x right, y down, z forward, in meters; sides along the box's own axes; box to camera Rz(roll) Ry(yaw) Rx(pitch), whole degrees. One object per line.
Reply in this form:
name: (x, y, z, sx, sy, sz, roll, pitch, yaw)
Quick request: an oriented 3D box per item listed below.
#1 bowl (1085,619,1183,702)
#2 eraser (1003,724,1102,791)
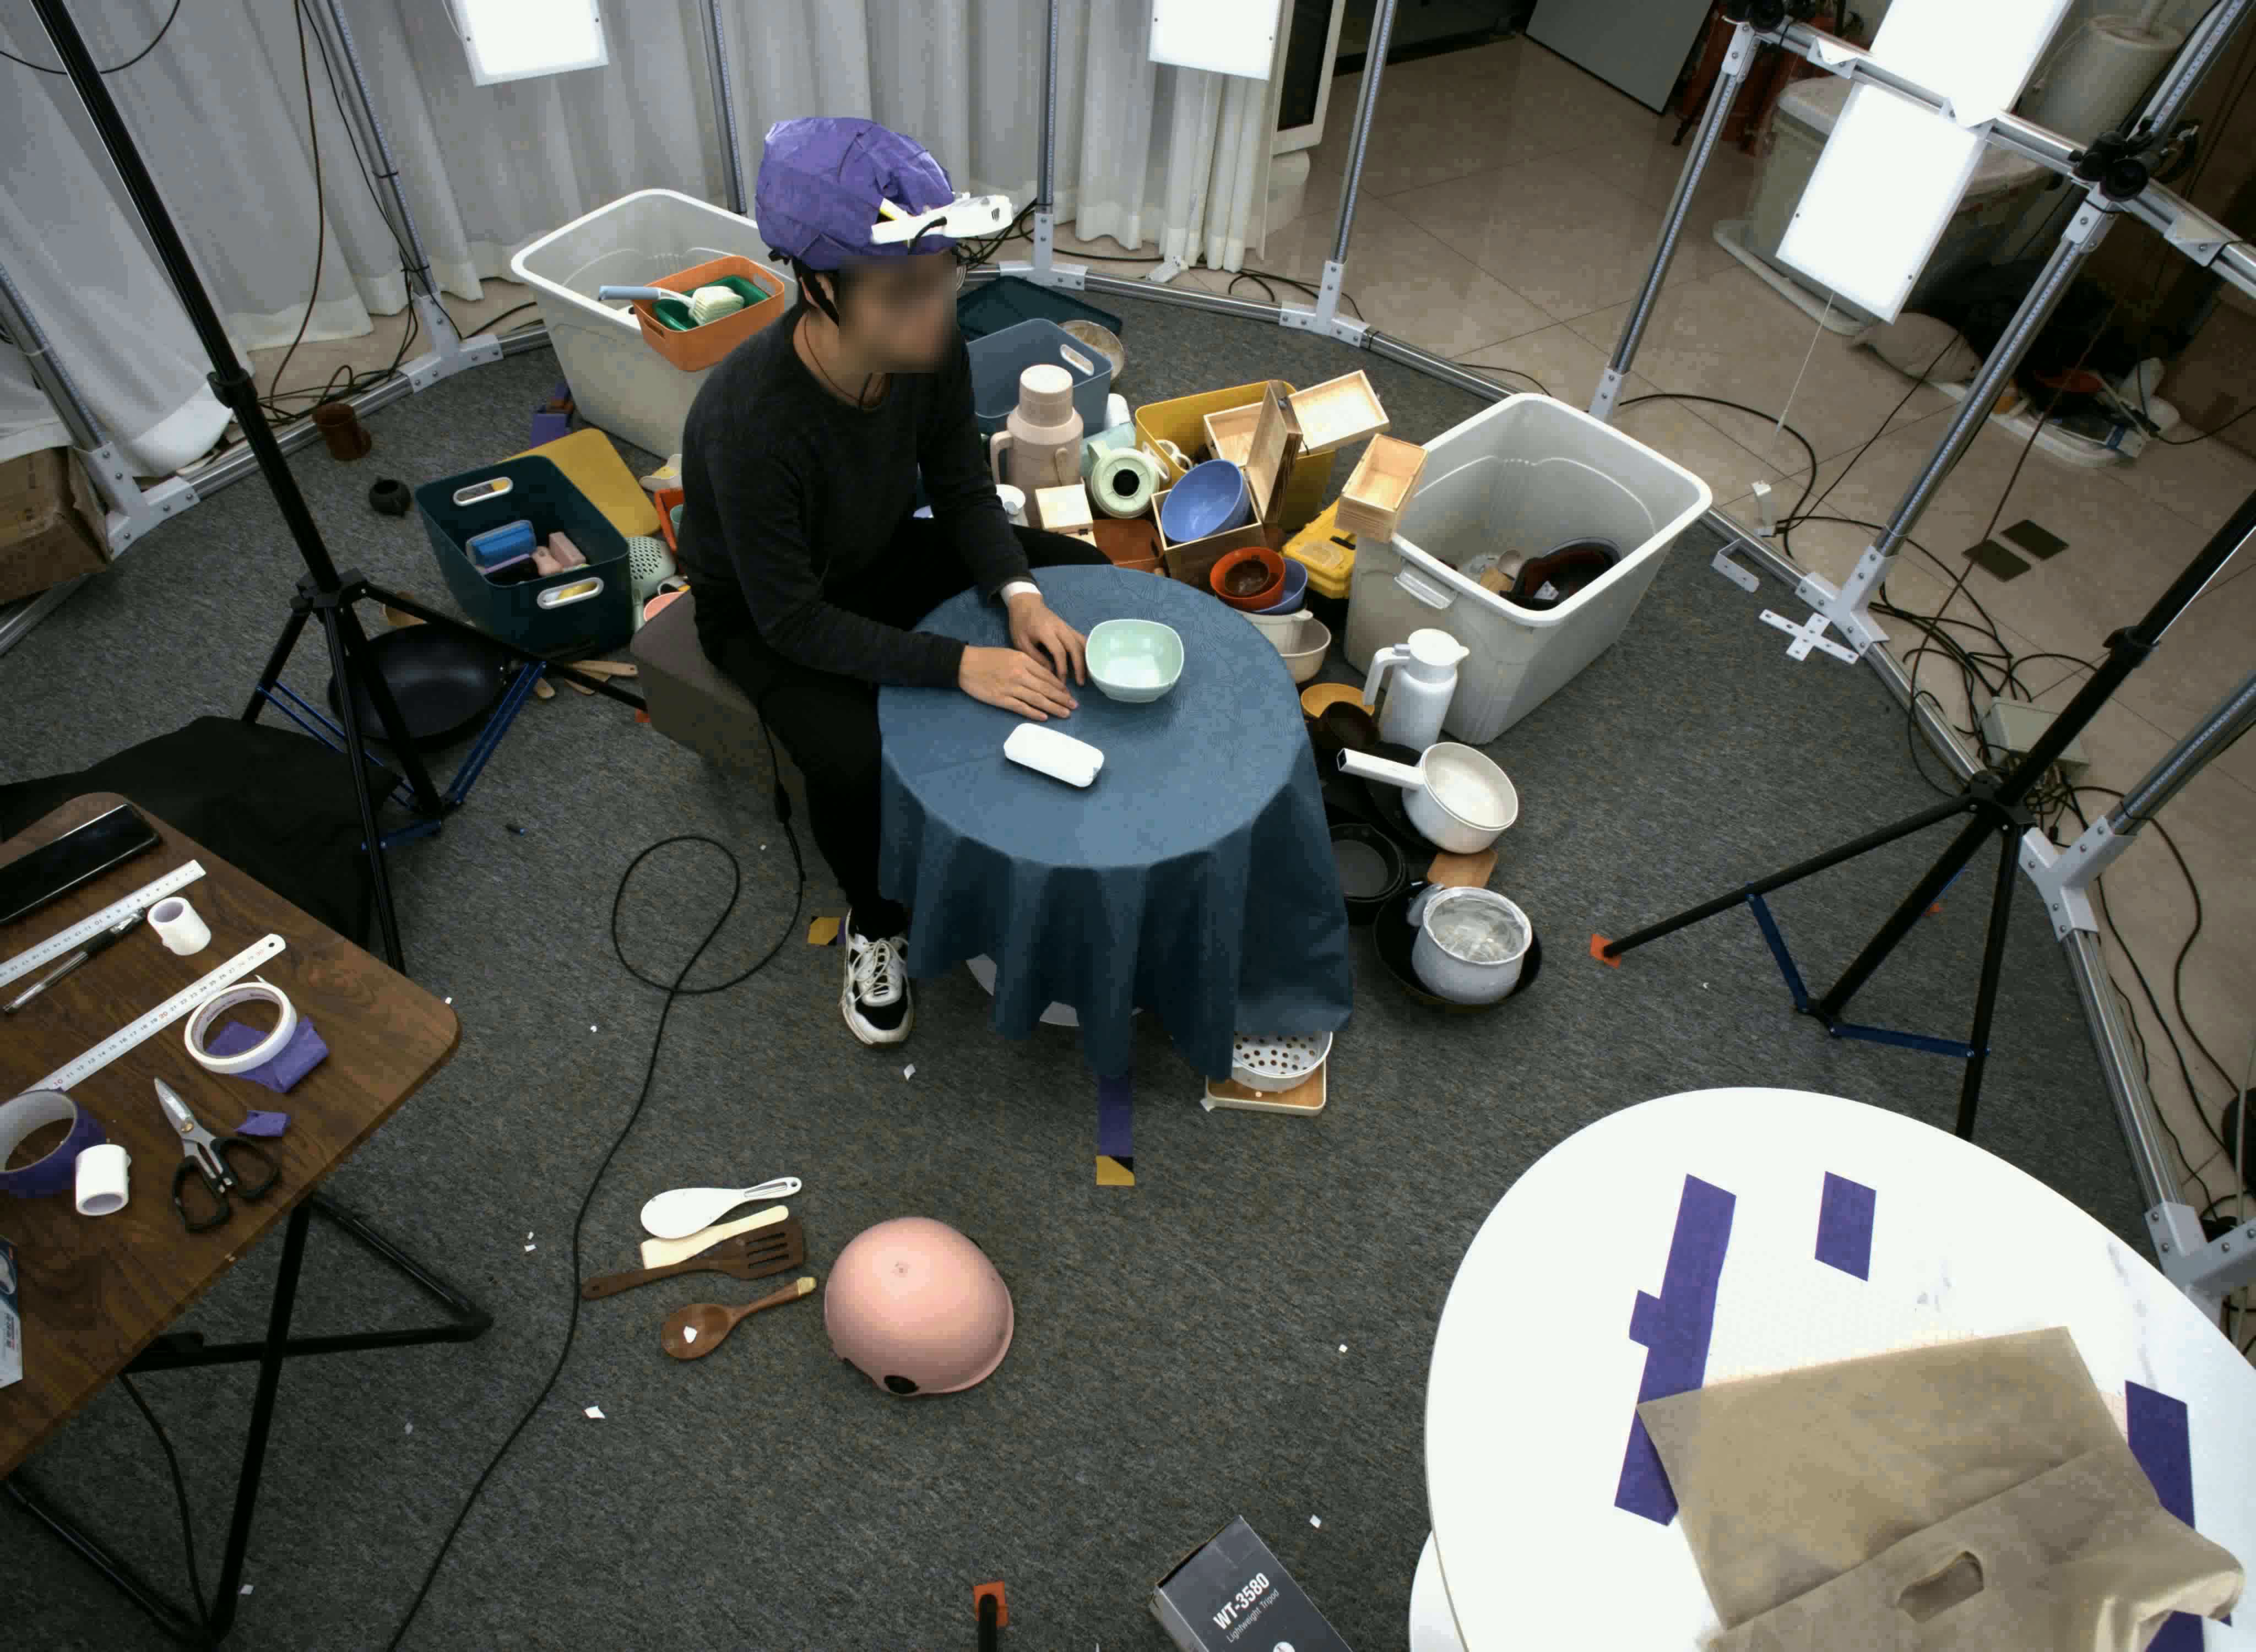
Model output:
bowl: (0.006, -0.227, 1.832, 0.151, 0.057, 0.155, 3, 49, -4)
eraser: (-0.102, -0.096, 1.726, 0.132, 0.034, 0.064, 23, 50, 14)
